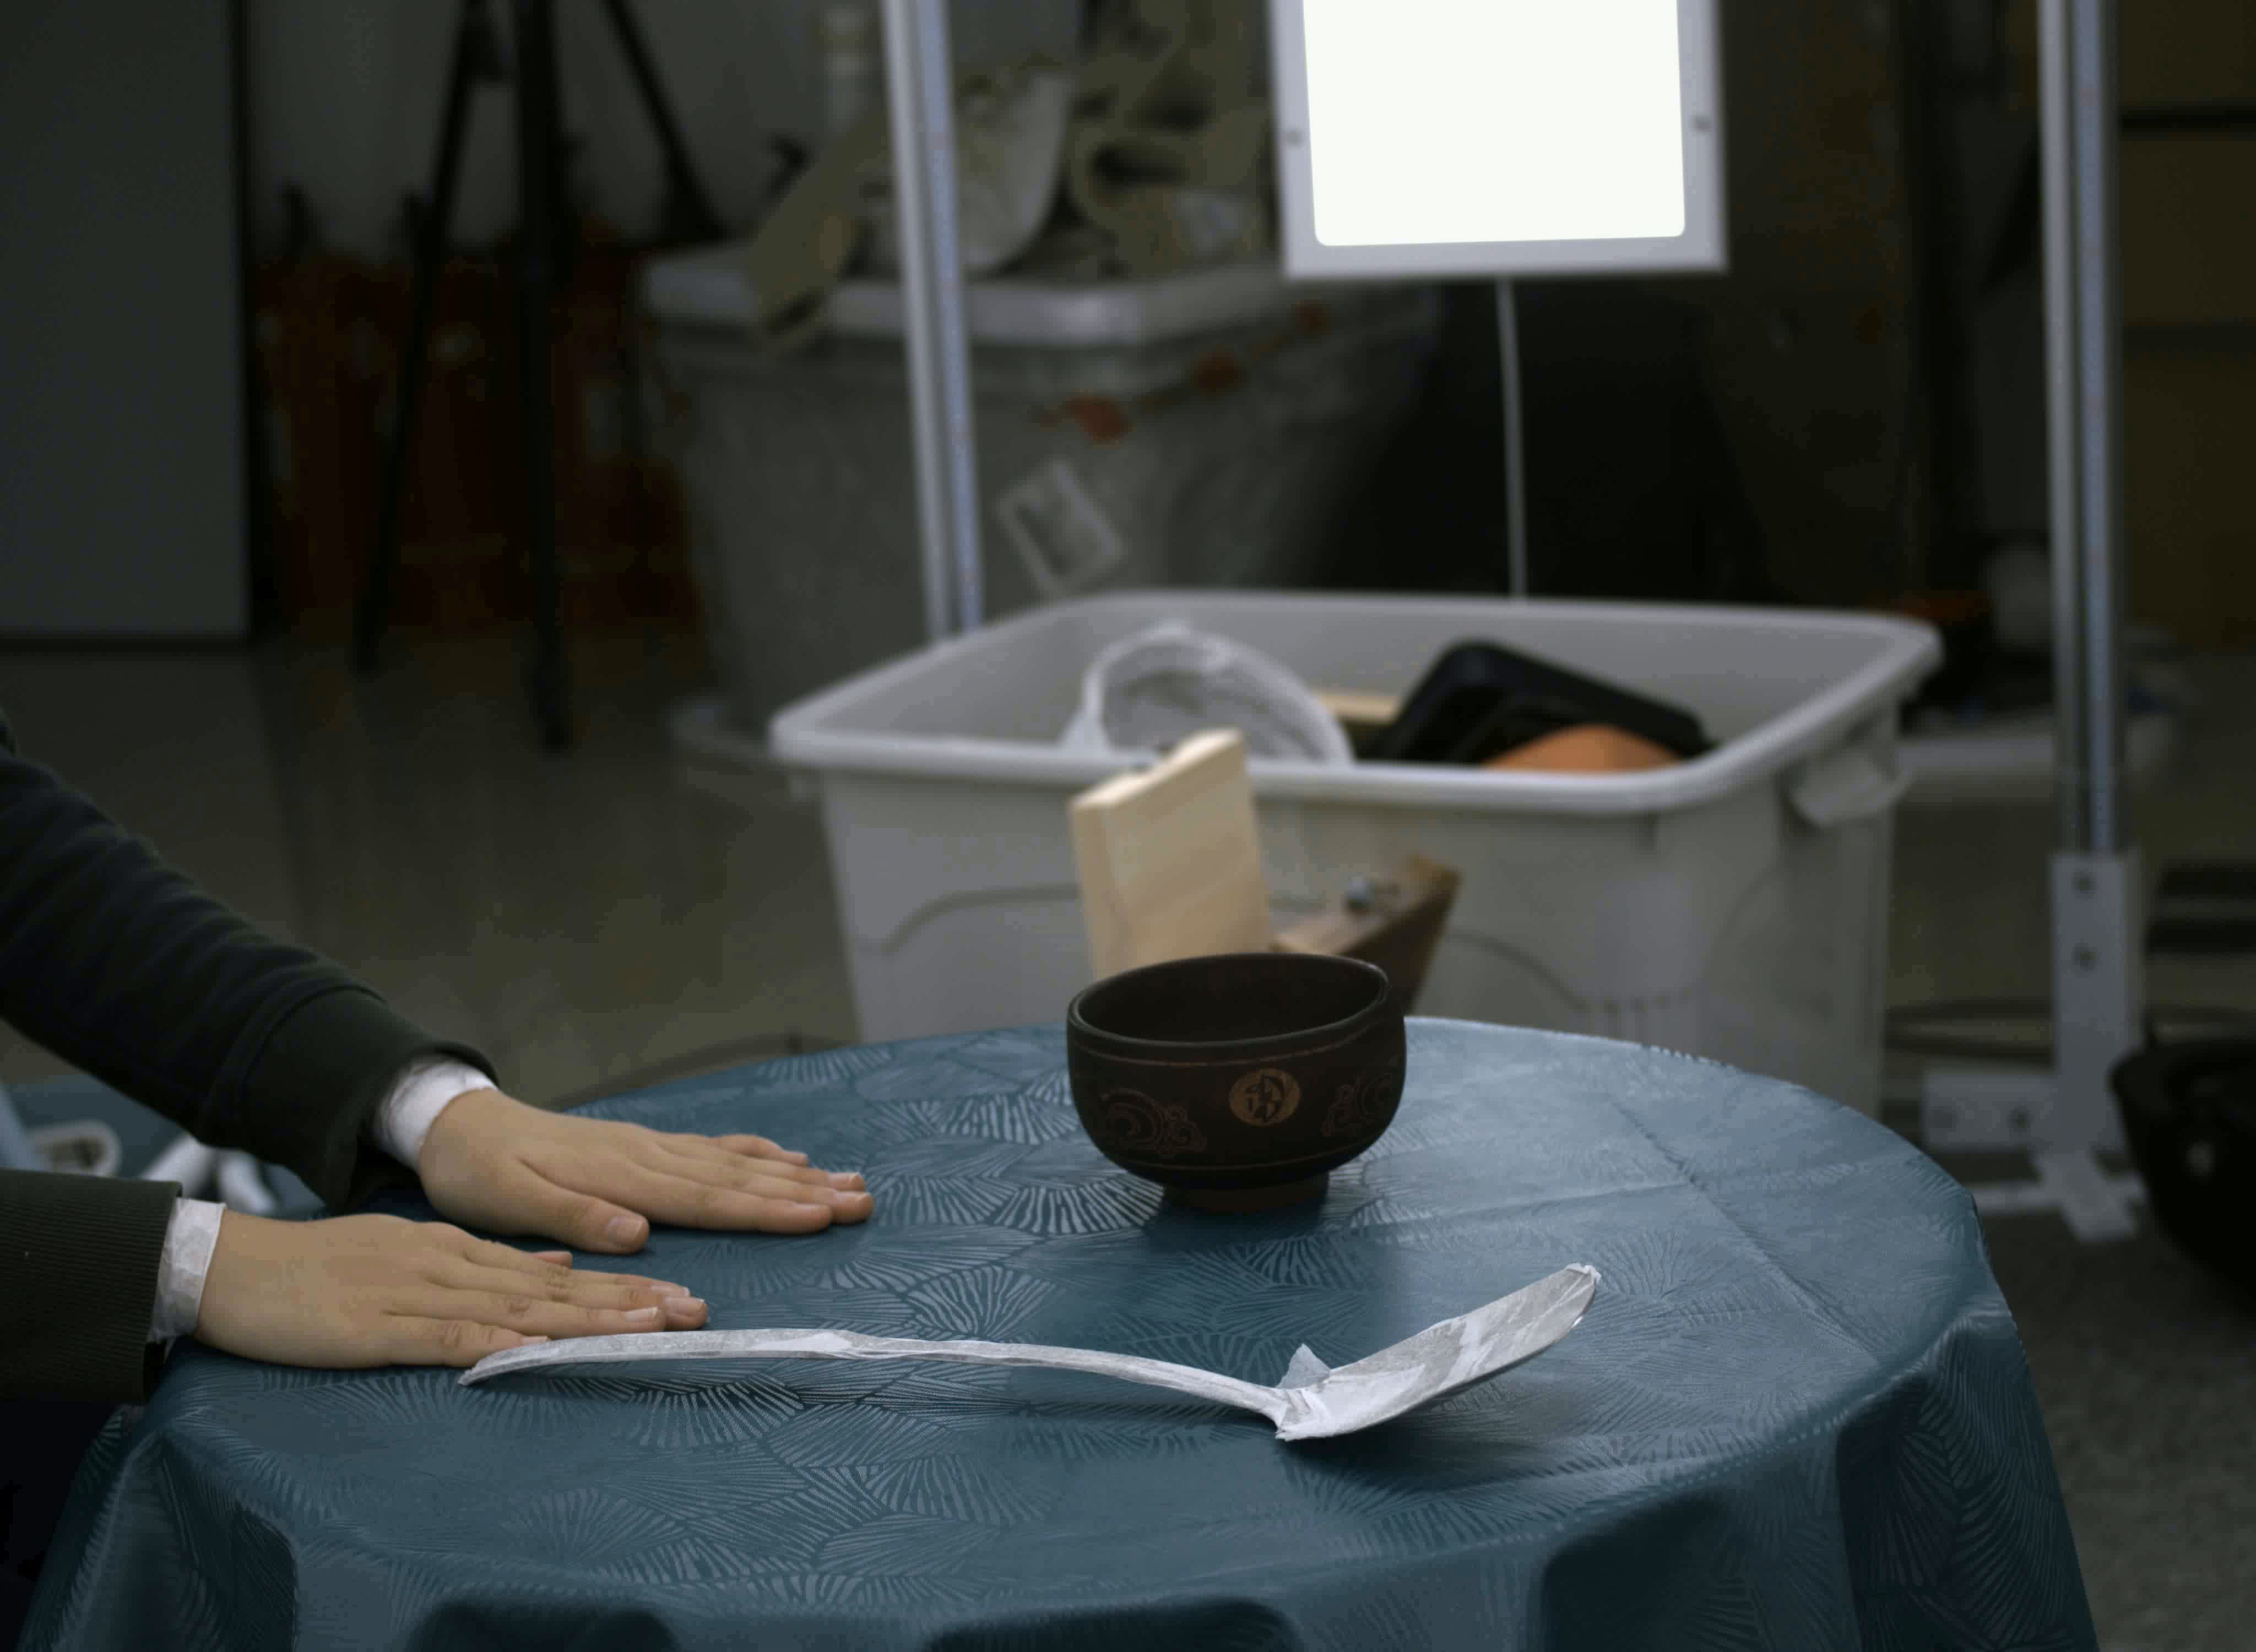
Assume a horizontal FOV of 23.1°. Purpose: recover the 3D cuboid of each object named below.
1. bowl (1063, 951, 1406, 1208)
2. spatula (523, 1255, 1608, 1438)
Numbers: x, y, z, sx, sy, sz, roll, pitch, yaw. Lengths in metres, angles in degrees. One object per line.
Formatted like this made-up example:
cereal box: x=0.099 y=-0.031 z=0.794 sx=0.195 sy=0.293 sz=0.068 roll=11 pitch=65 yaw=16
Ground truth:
bowl: x=0.038 y=0.090 z=1.883 sx=0.118 sy=0.070 sz=0.118 roll=-5 pitch=12 yaw=0
spatula: x=-0.030 y=0.158 z=1.698 sx=0.370 sy=0.045 sz=0.097 roll=1 pitch=17 yaw=23
